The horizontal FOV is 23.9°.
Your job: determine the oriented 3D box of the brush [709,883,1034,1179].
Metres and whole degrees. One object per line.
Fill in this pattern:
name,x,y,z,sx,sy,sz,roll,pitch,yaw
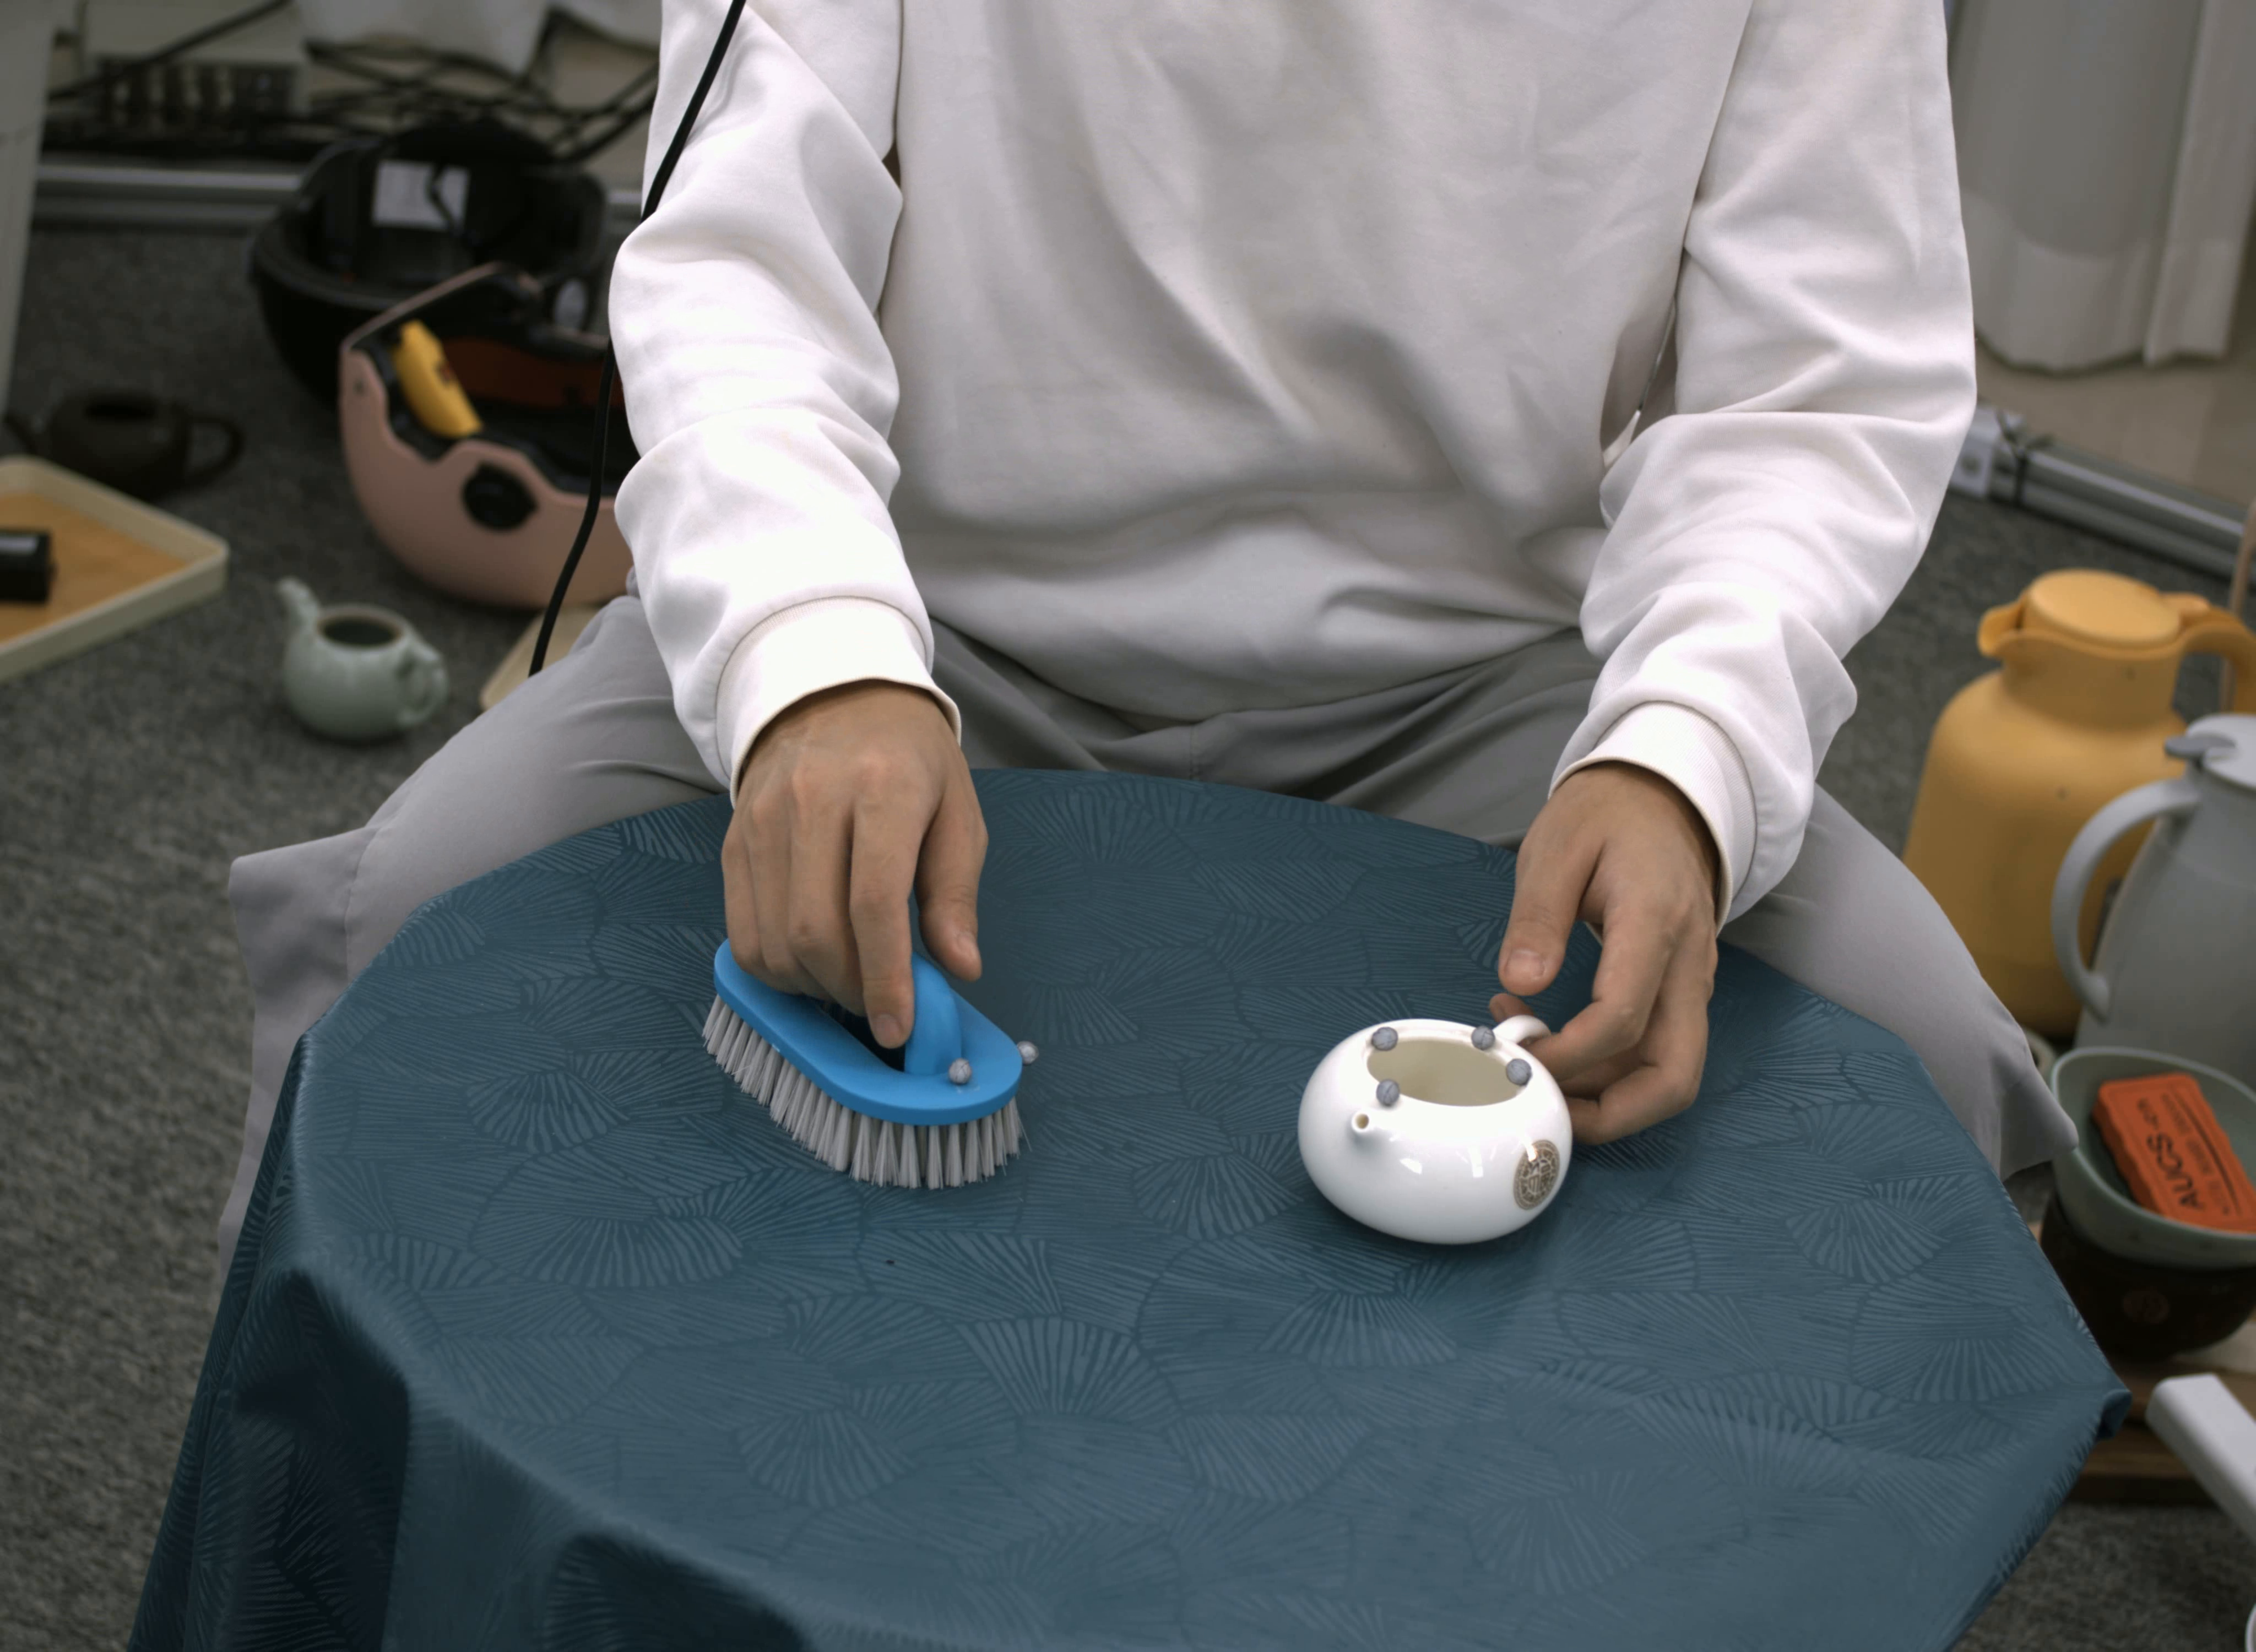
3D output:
brush,-0.091,0.062,1.834,0.084,0.063,0.143,-14,33,-29

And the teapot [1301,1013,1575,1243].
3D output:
teapot,0.111,0.101,1.817,0.094,0.056,0.127,16,26,28
